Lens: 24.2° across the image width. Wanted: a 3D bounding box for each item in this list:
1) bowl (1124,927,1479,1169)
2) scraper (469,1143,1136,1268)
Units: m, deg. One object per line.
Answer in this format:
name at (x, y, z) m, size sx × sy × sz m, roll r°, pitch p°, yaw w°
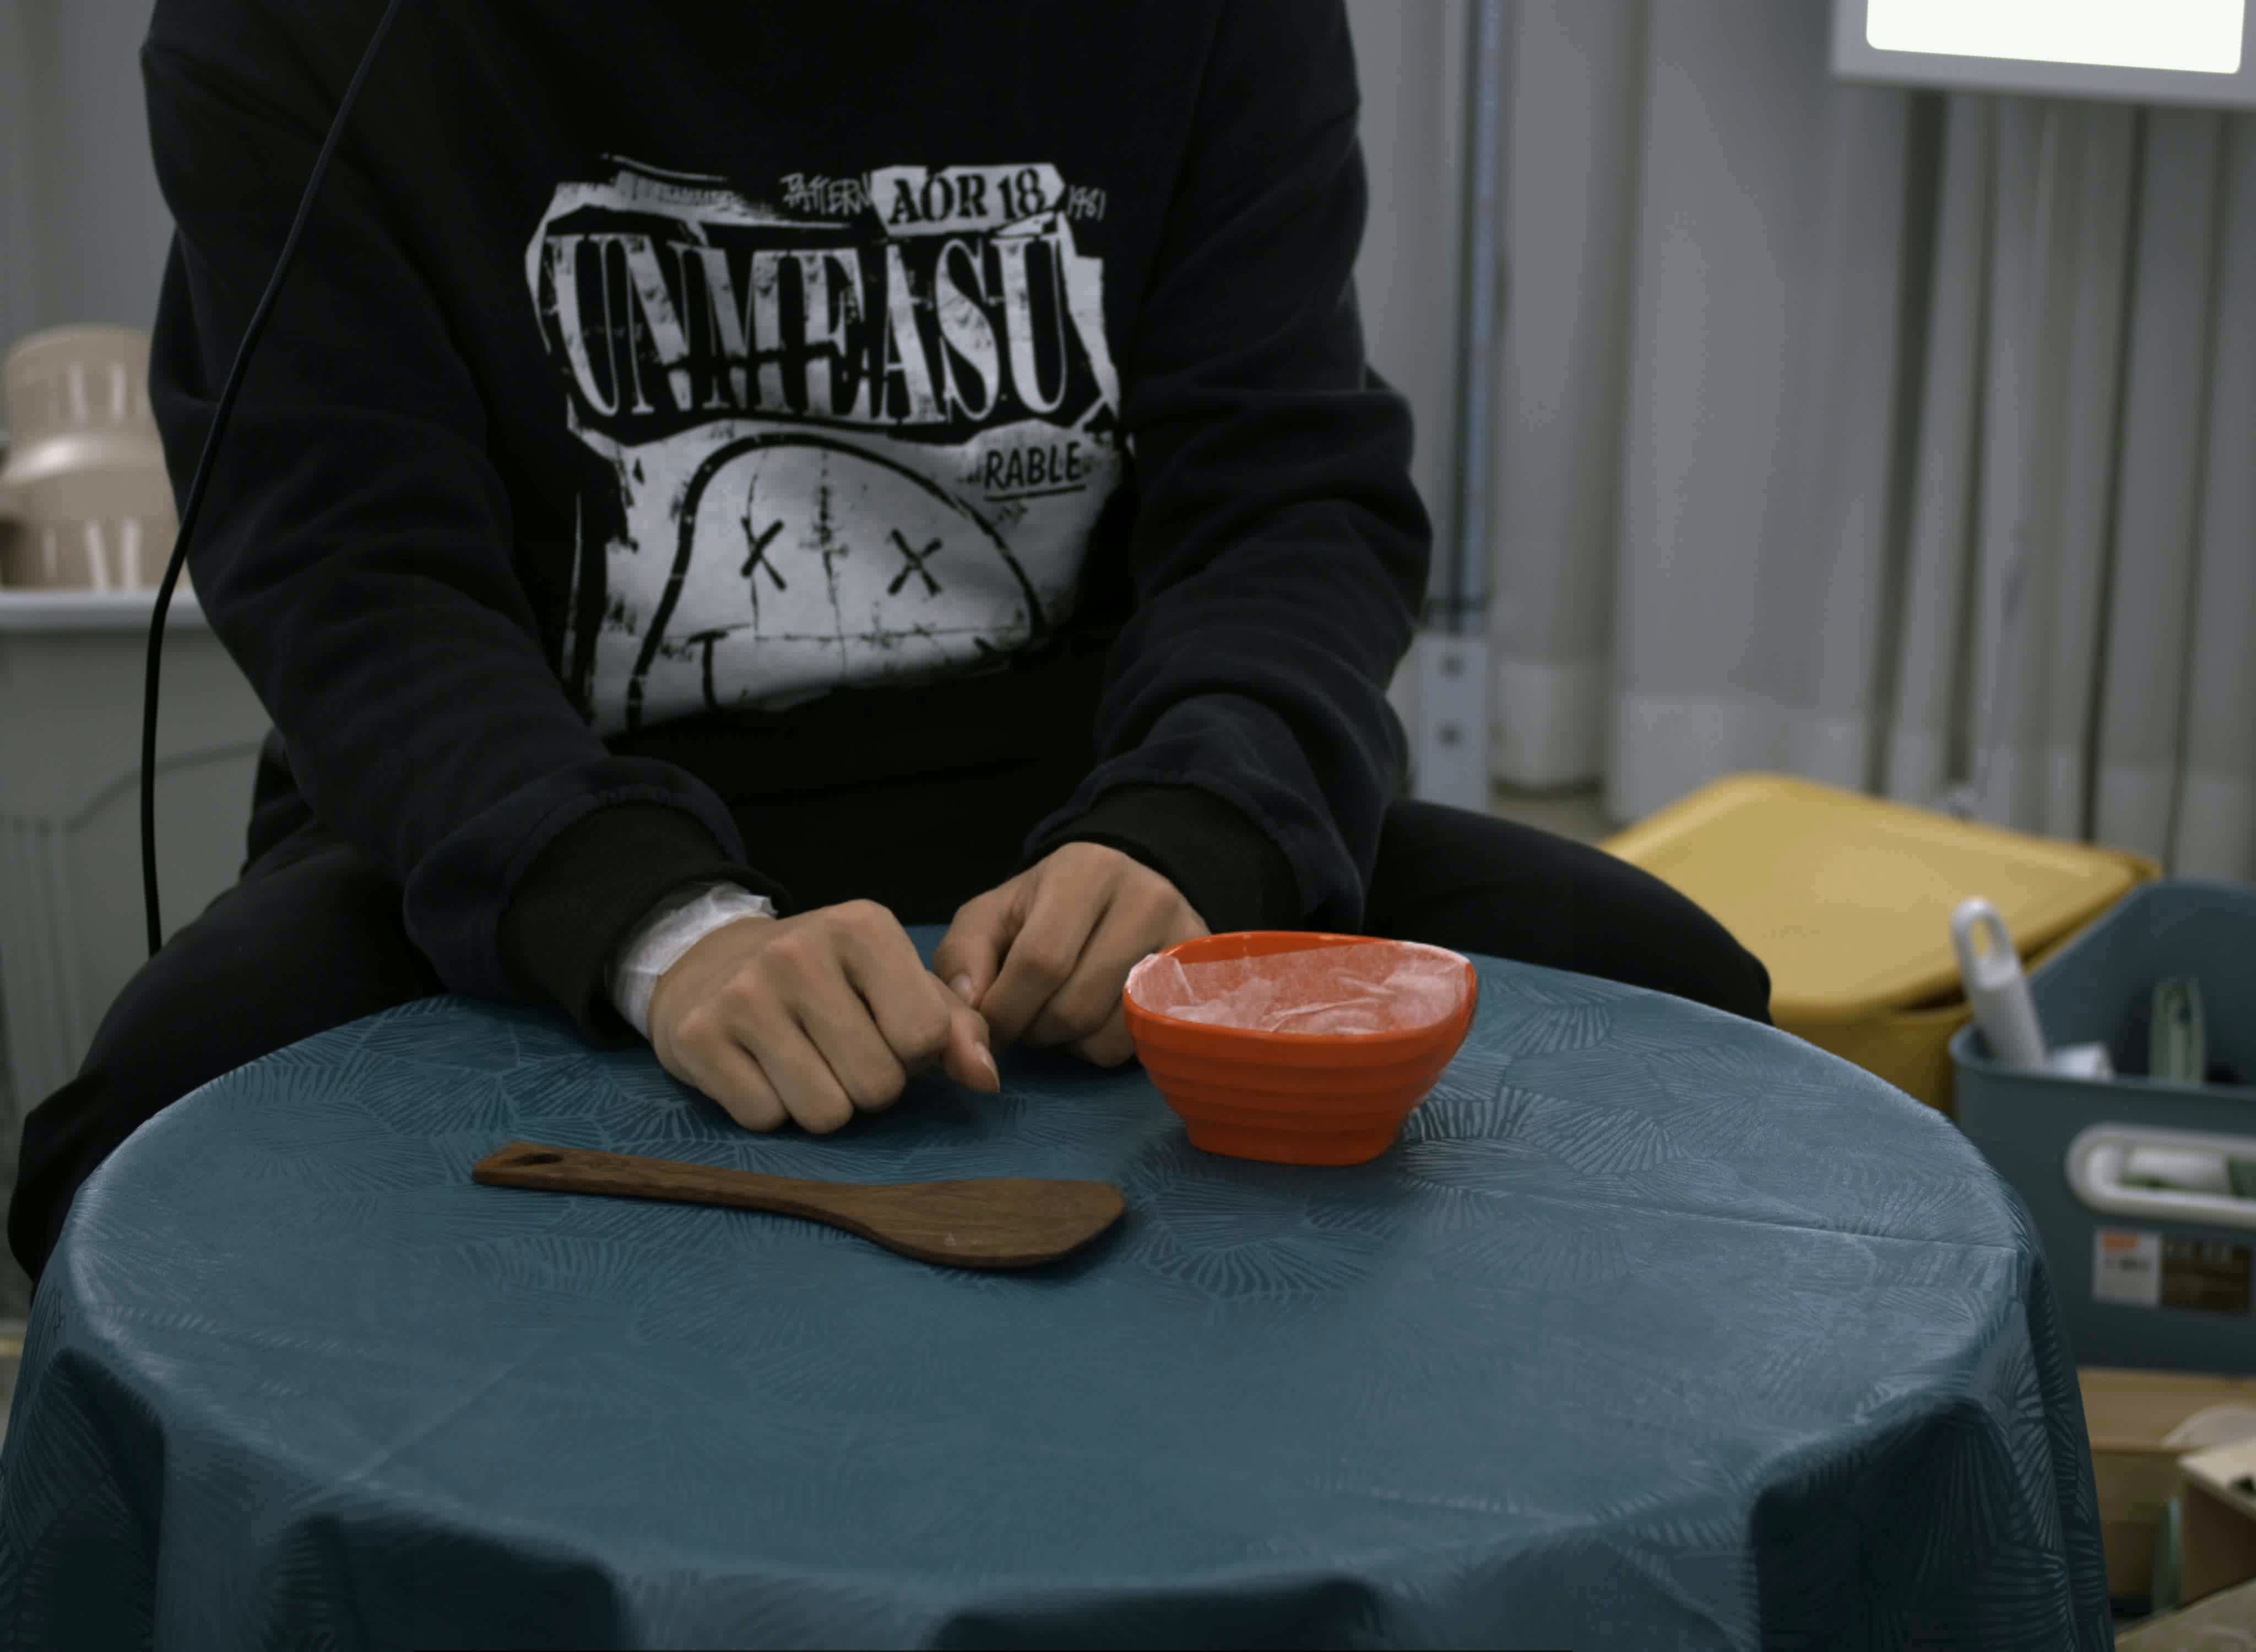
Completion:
bowl at (0.055, 0.073, 1.677) m, size 0.118 × 0.052 × 0.118 m, roll 1°, pitch 18°, yaw 0°
scraper at (-0.103, 0.113, 1.607) m, size 0.209 × 0.011 × 0.076 m, roll 5°, pitch 16°, yaw 18°
